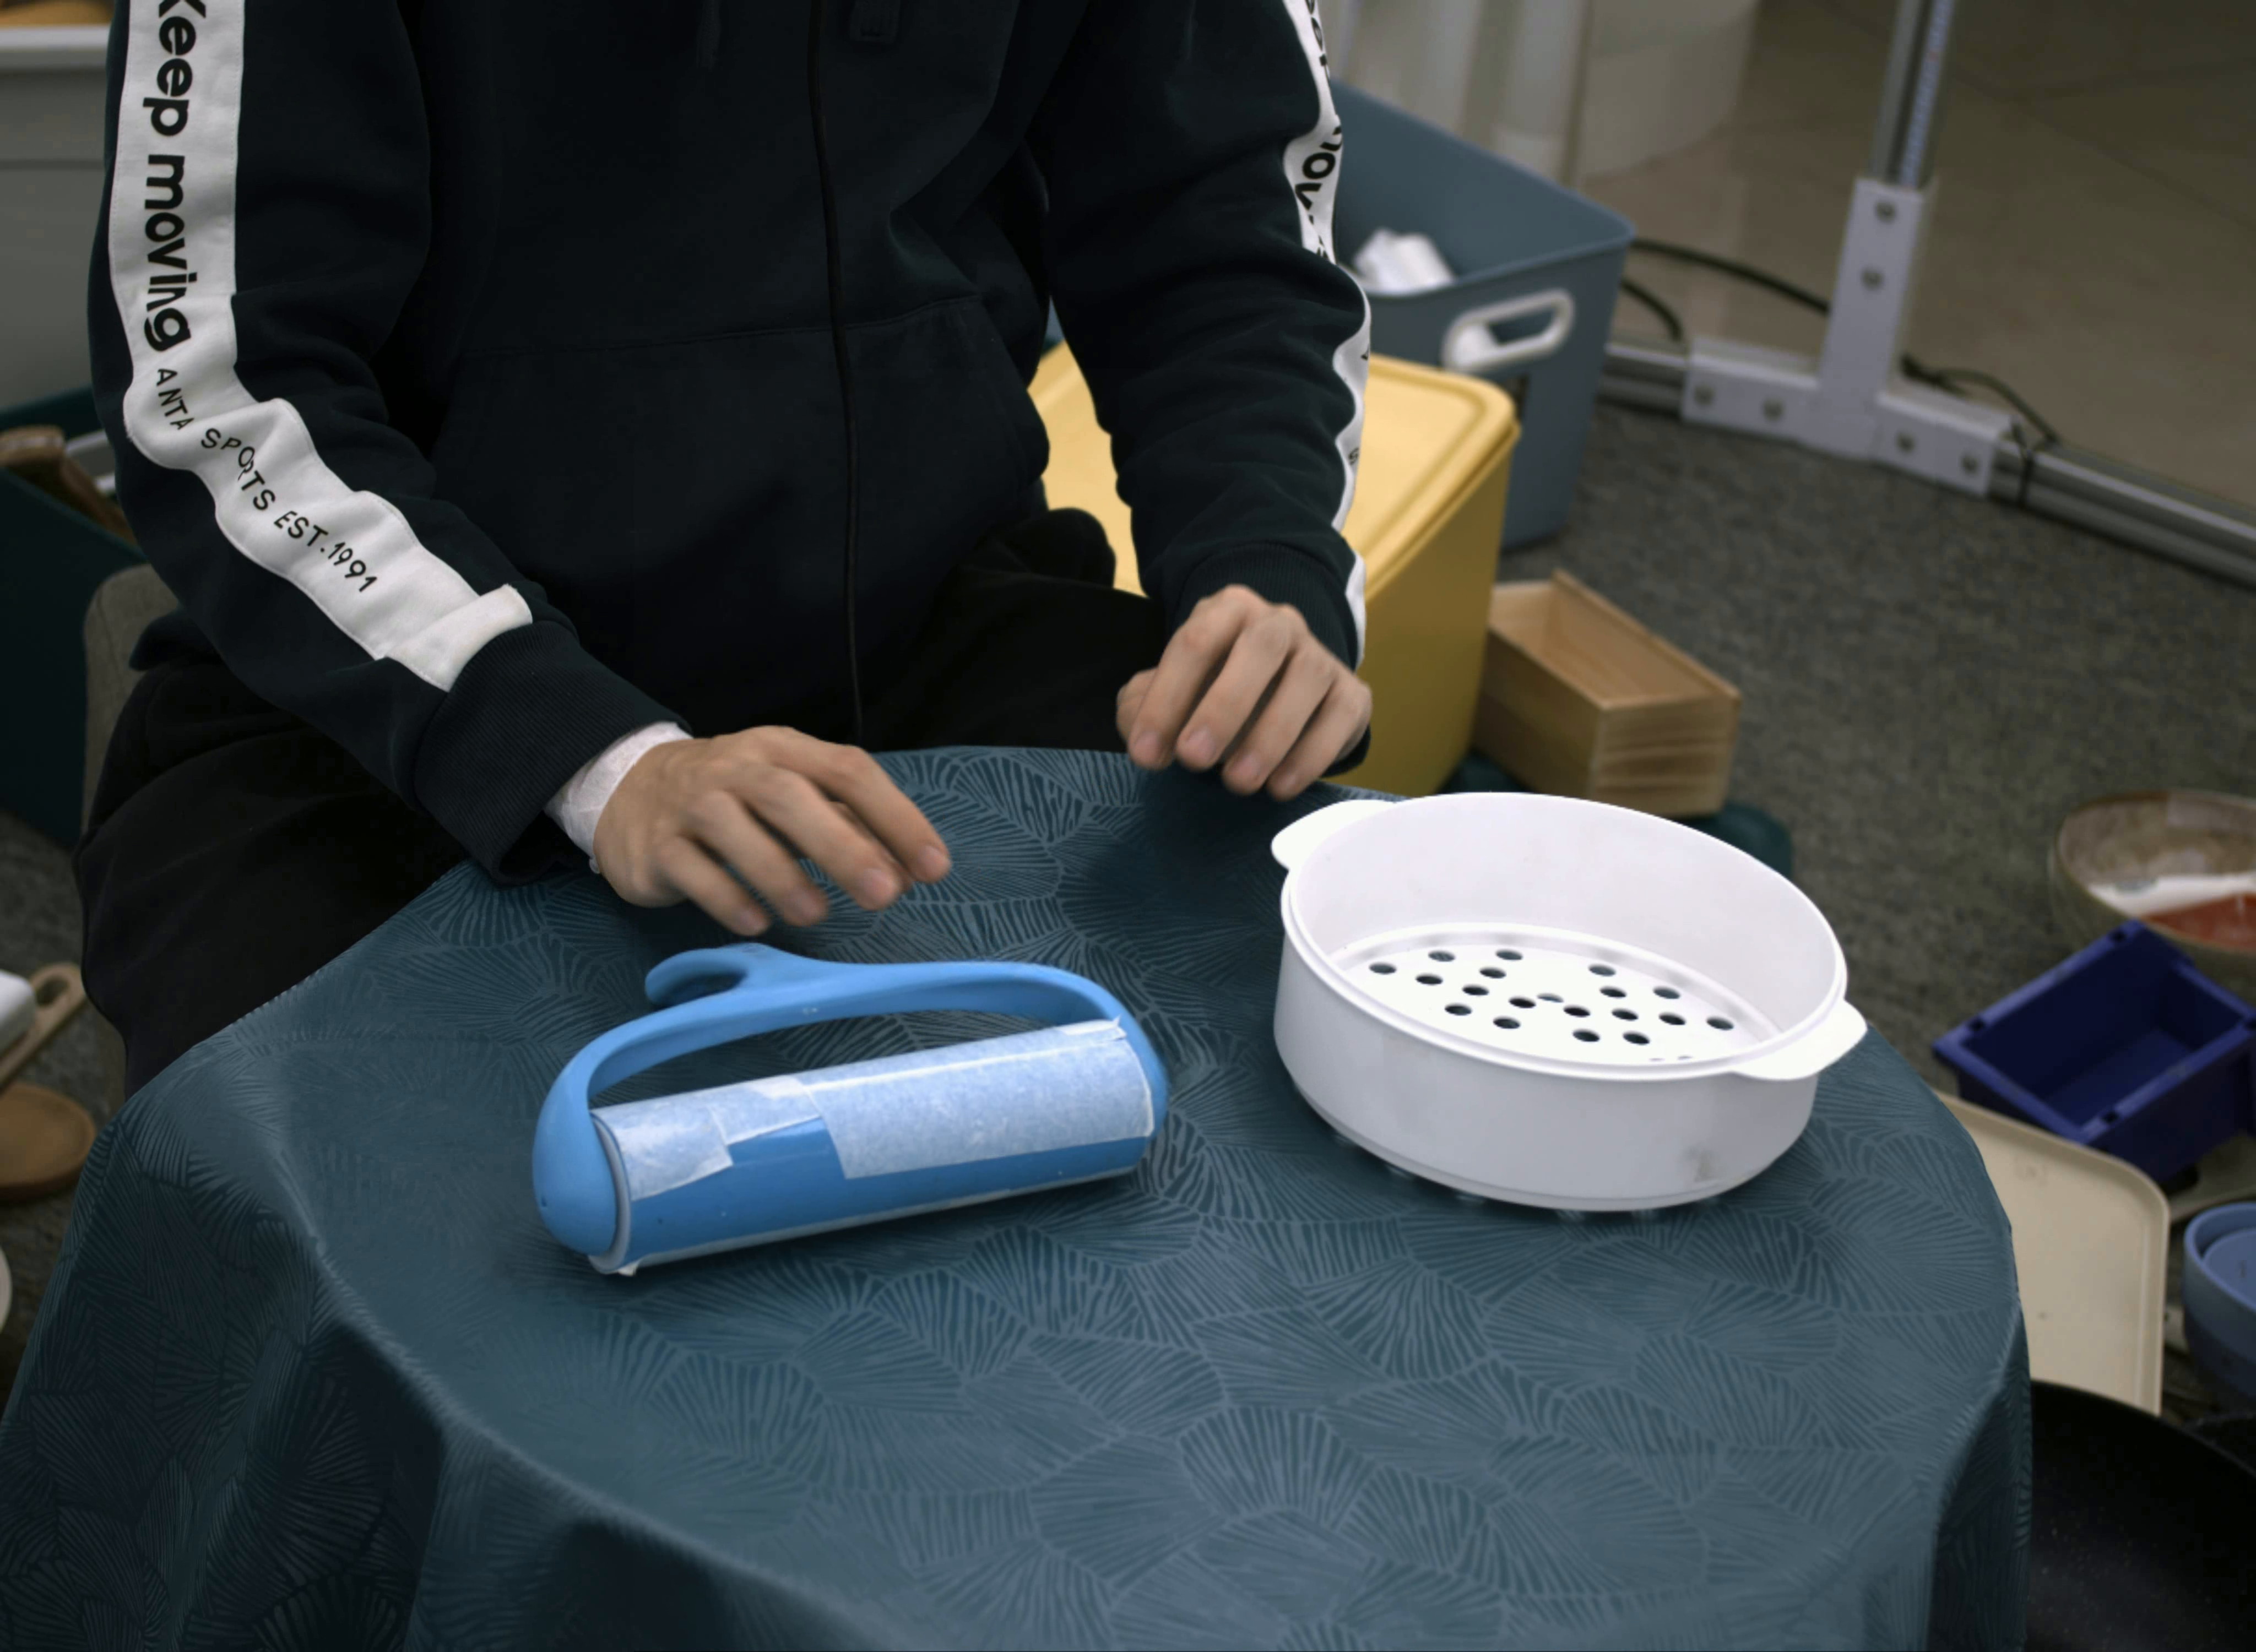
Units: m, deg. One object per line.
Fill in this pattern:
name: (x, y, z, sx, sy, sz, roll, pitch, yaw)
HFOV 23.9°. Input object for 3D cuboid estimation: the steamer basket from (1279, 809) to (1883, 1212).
steamer basket: (0.154, 0.065, 1.873, 0.232, 0.069, 0.201, 23, 30, 32)

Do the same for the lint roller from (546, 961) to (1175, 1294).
lint roller: (-0.117, 0.081, 1.797, 0.227, 0.067, 0.182, -14, 34, -30)
